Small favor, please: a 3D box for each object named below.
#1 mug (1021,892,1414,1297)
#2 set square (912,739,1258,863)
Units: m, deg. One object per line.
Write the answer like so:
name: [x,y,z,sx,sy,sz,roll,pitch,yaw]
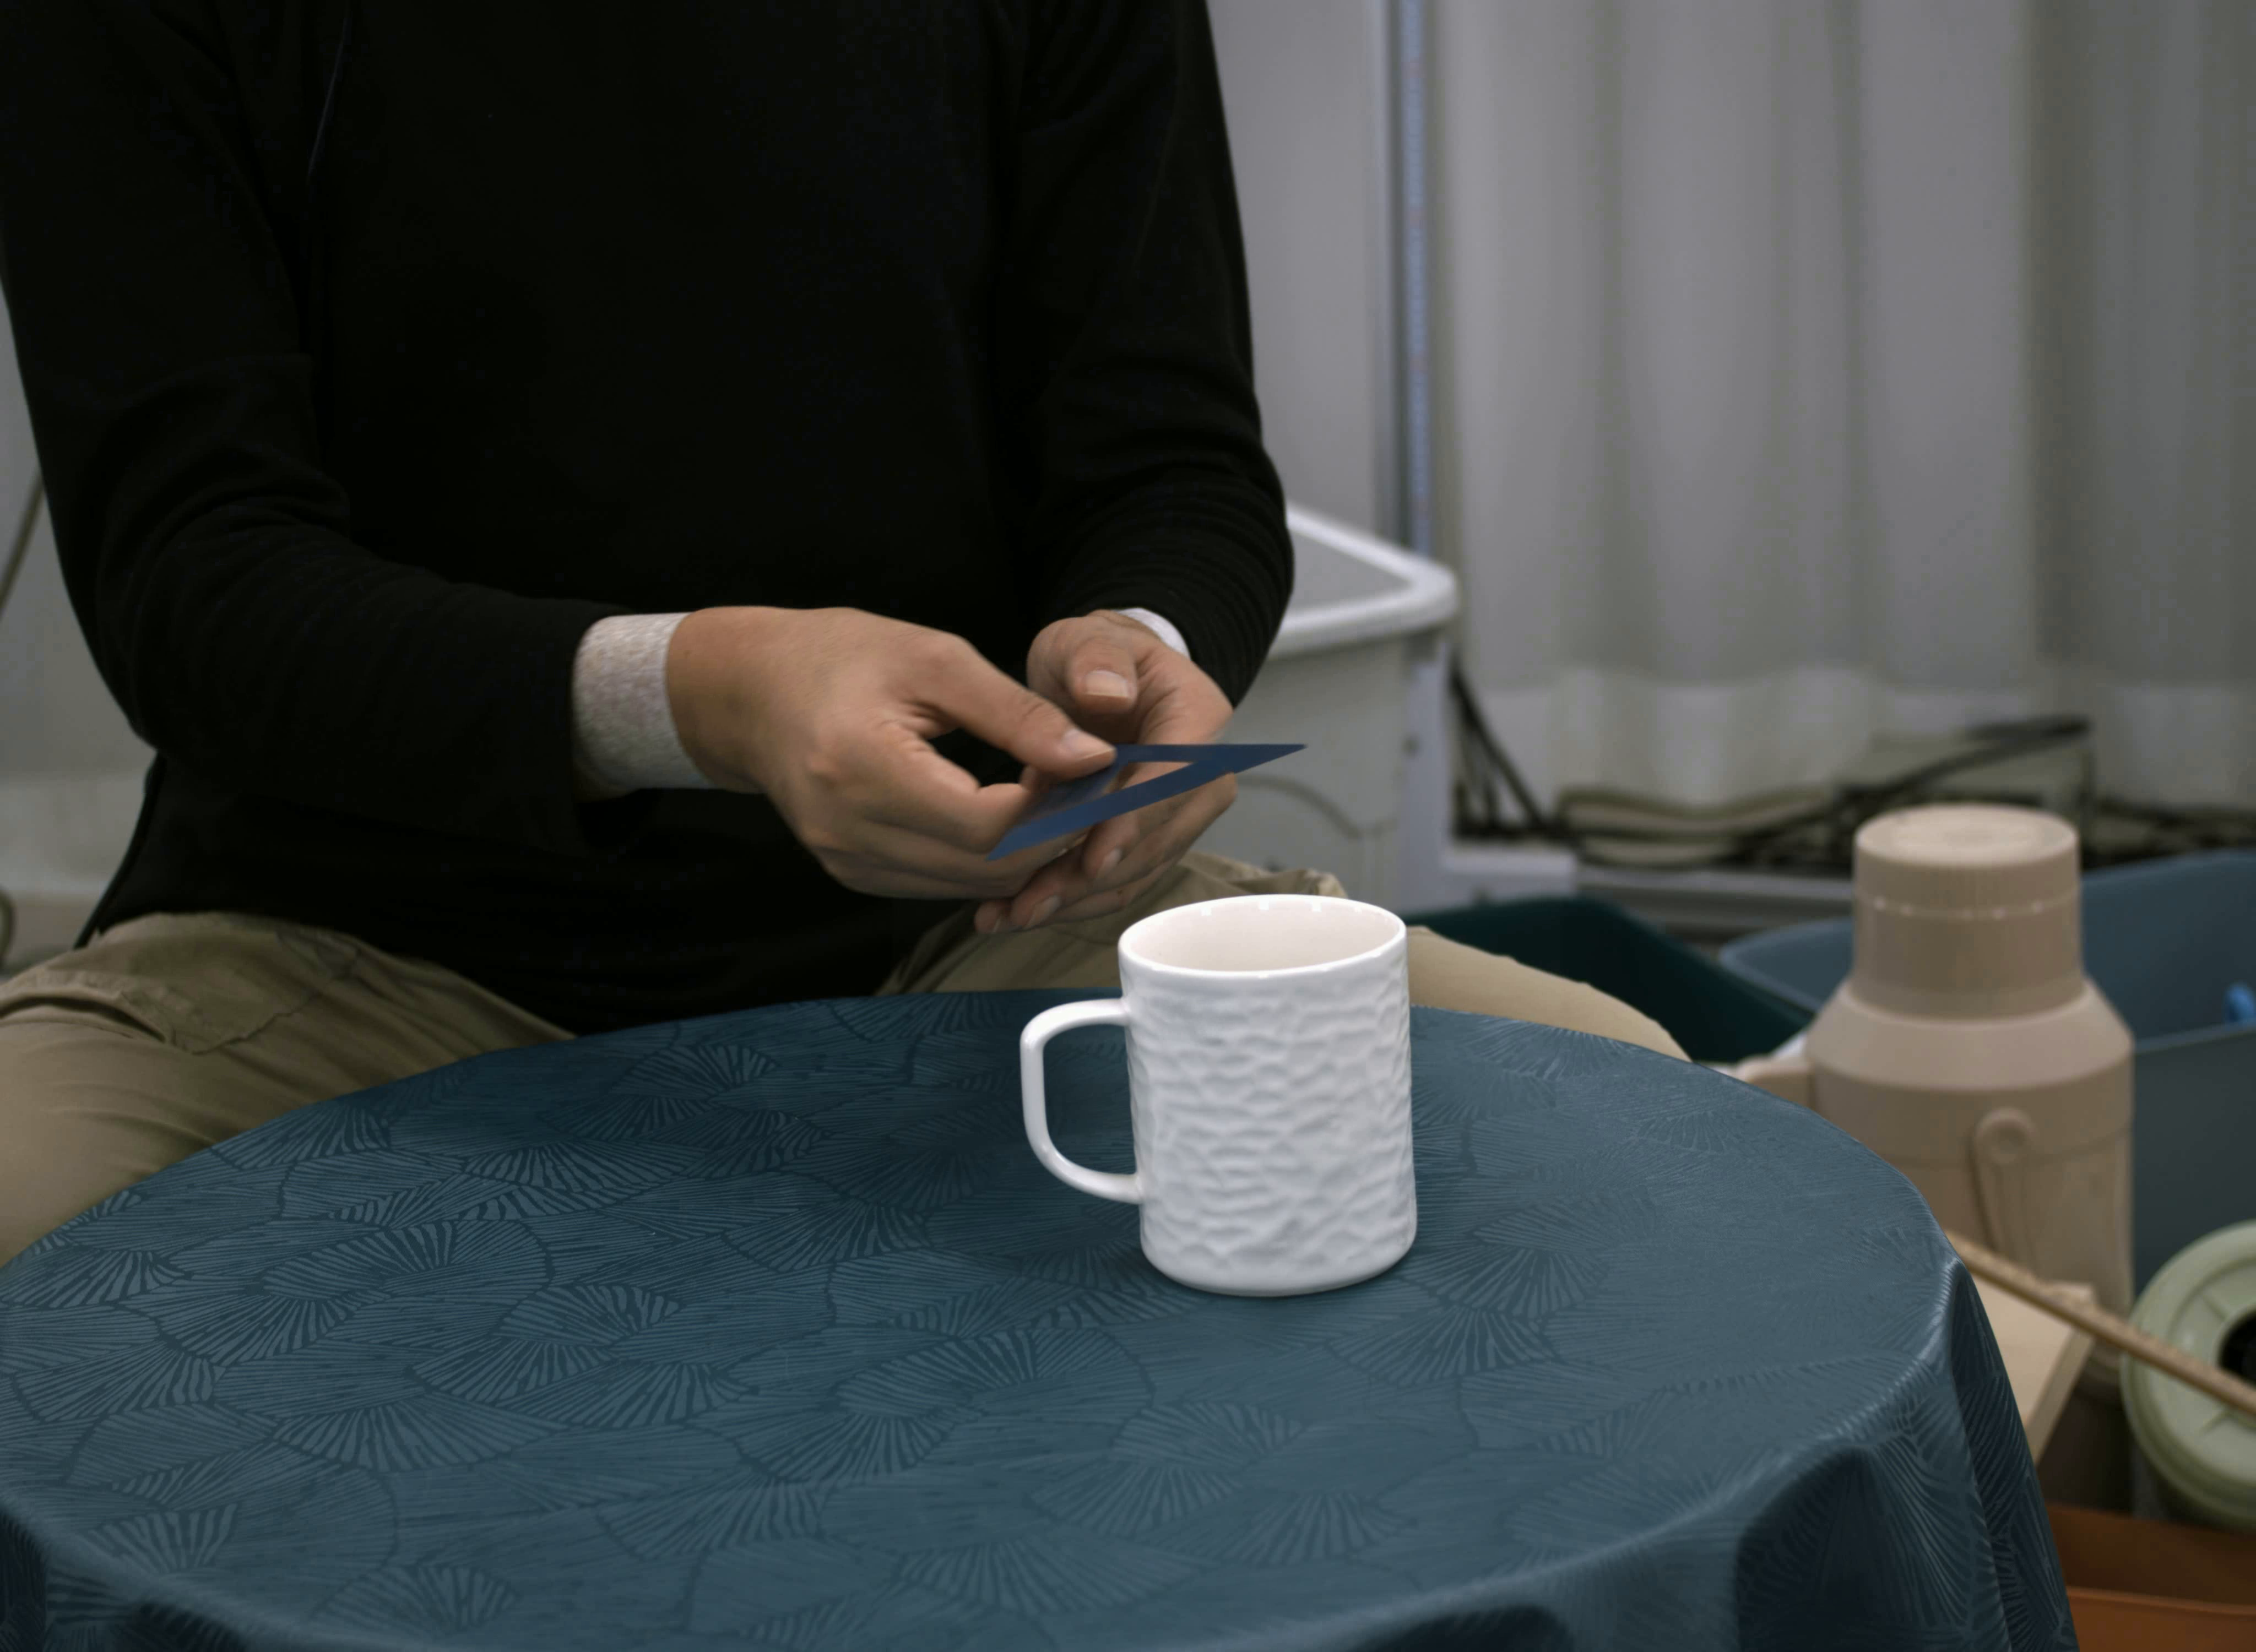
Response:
mug: [0.027,0.082,1.635,0.118,0.101,0.085,-5,14,-9]
set square: [-0.026,-0.011,1.682,0.132,0.006,0.061,-18,23,-38]
